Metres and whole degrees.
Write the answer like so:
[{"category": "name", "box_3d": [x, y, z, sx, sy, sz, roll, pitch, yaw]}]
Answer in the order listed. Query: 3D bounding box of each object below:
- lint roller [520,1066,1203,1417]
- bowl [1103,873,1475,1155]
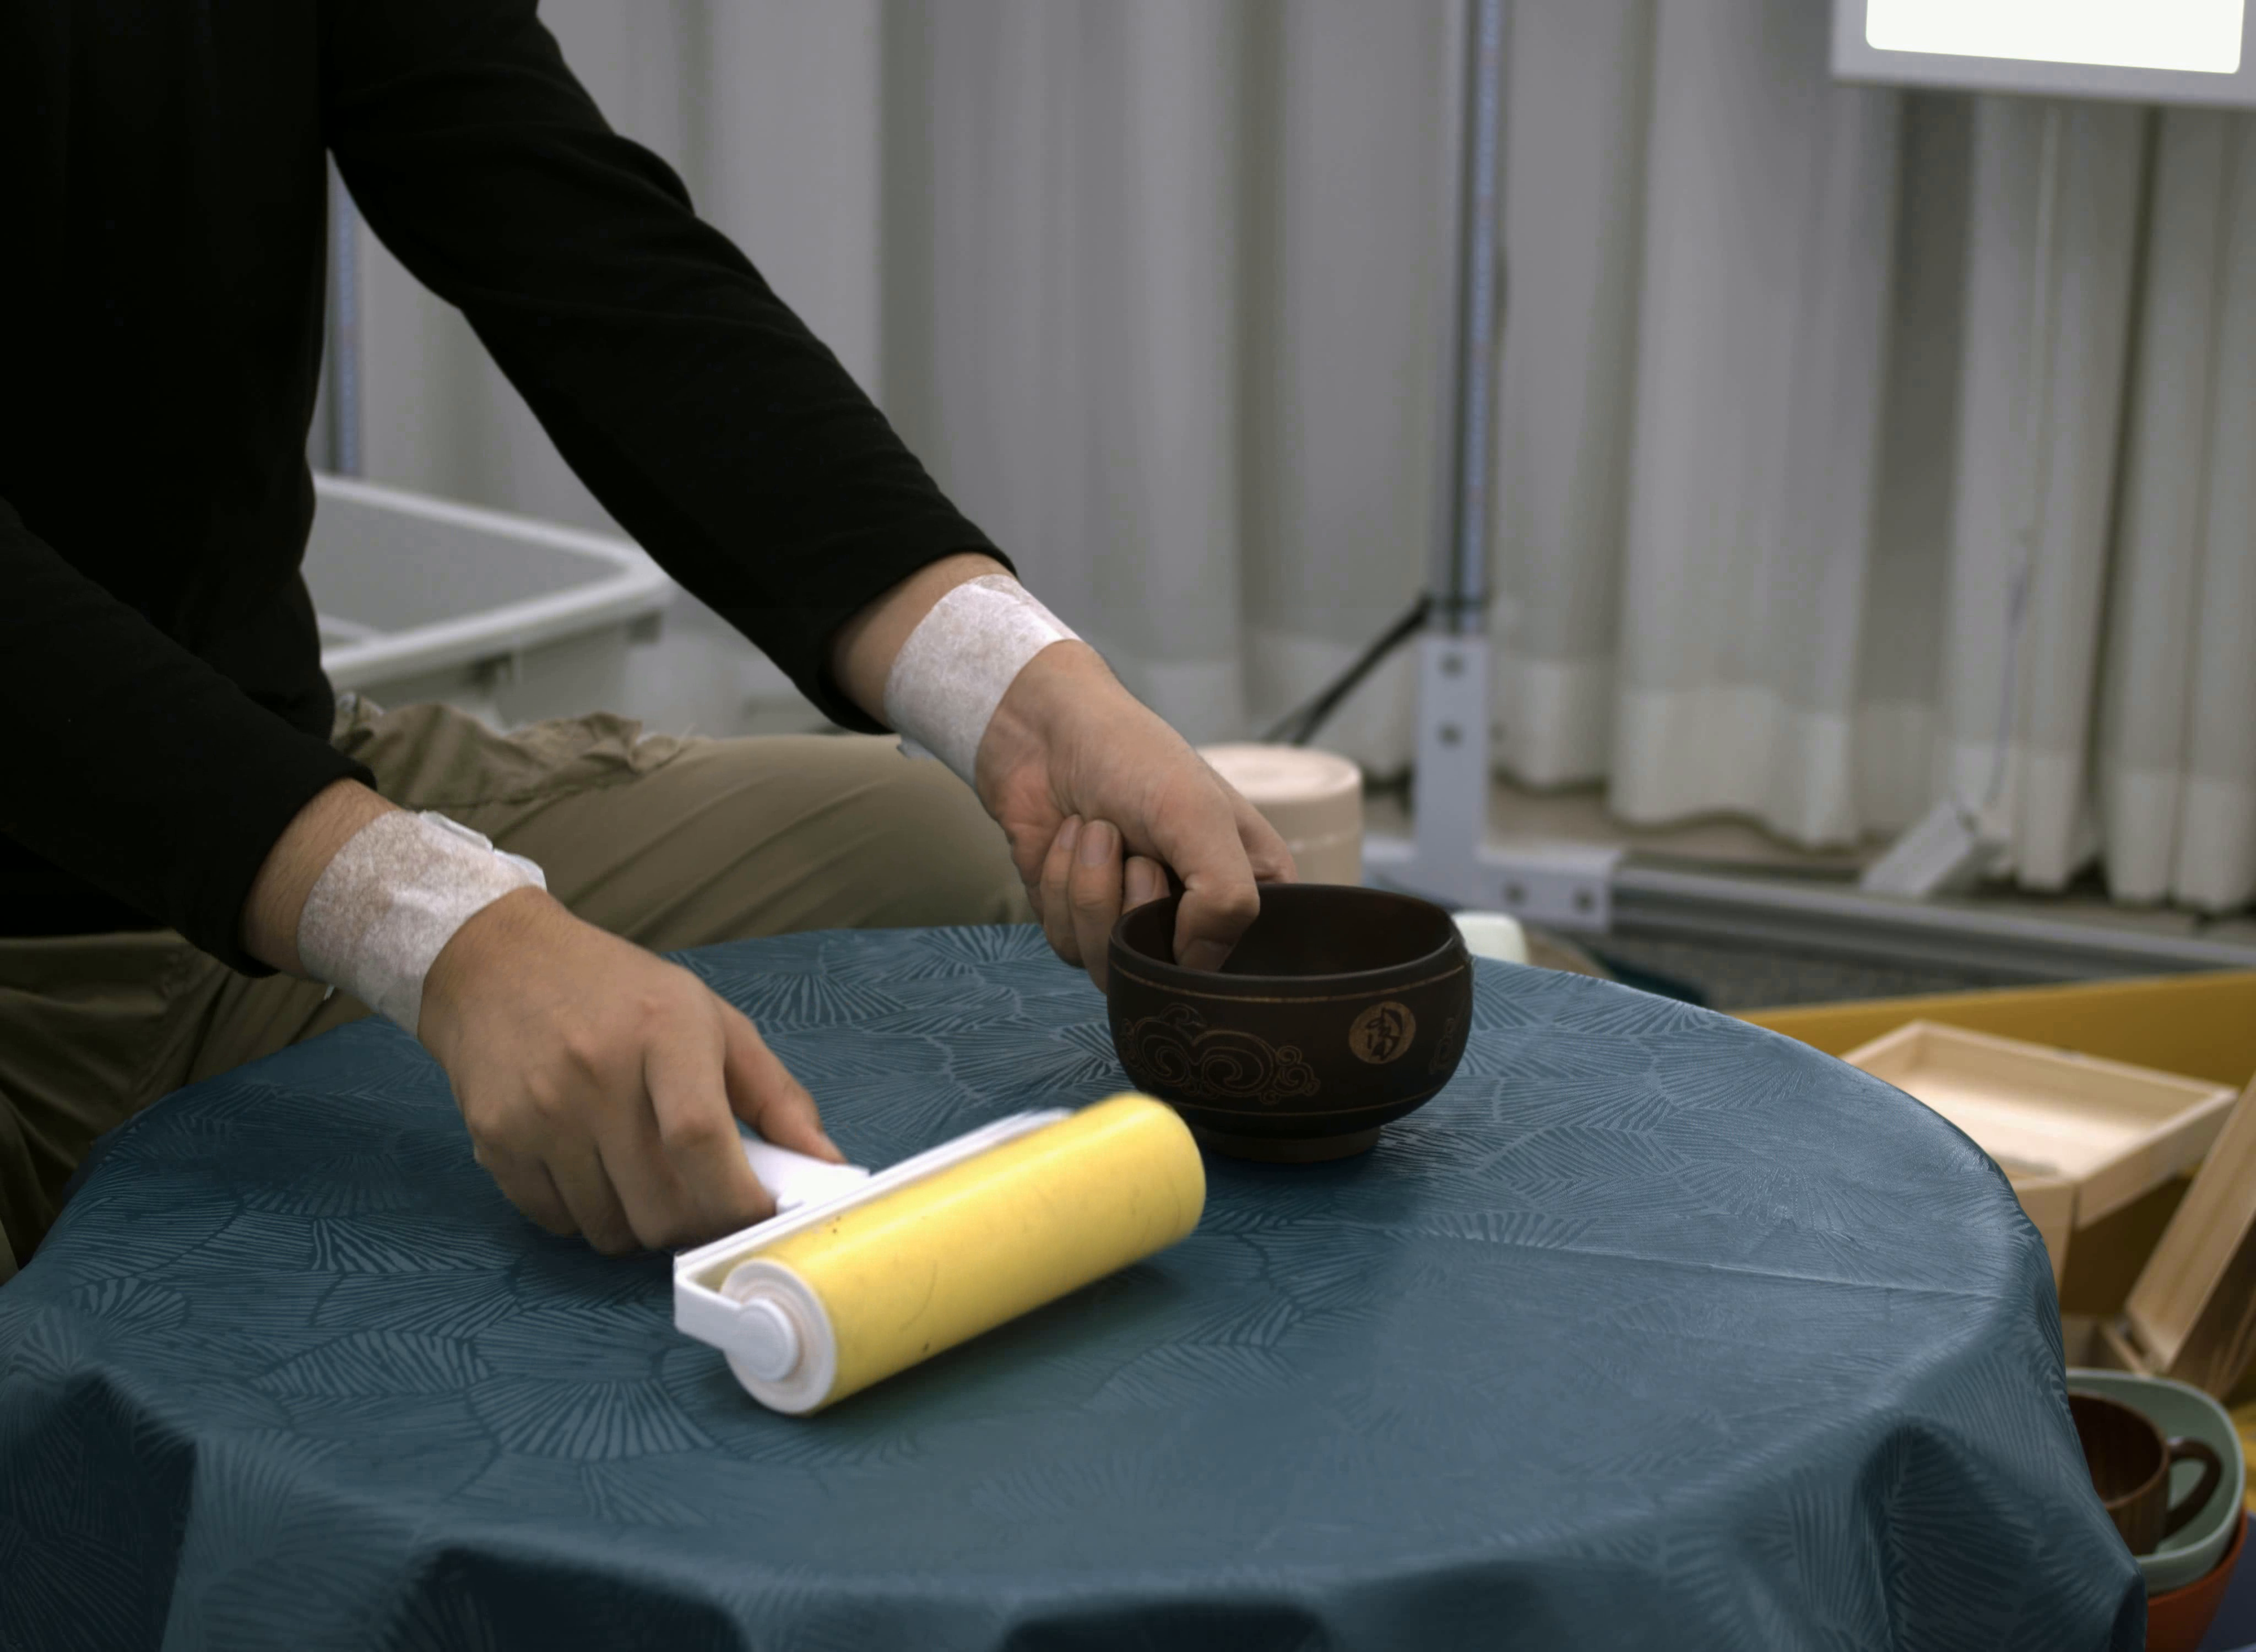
[{"category": "lint roller", "box_3d": [-0.101, 0.094, 1.527, 0.189, 0.052, 0.175, 26, 30, 30]}, {"category": "bowl", "box_3d": [0.050, 0.062, 1.660, 0.117, 0.070, 0.117, 1, 14, 0]}]
